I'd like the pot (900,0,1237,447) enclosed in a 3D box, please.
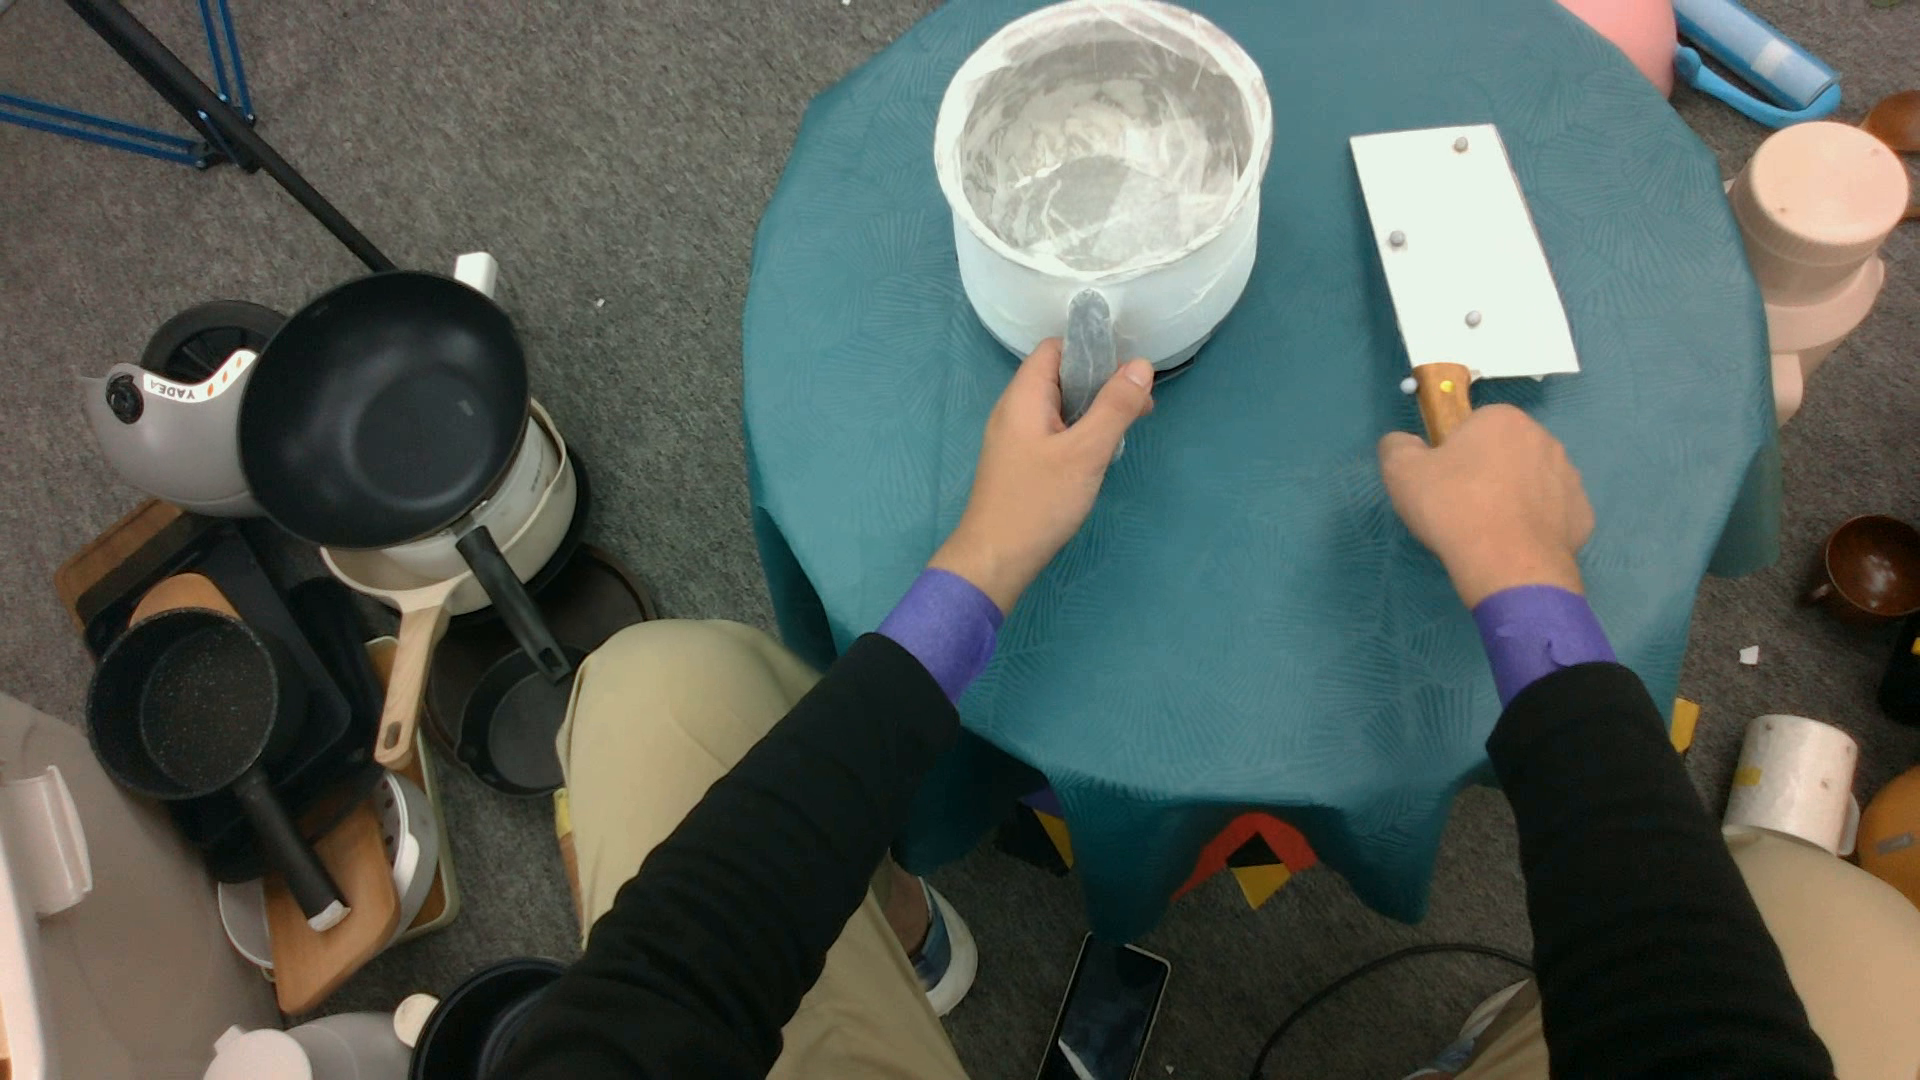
[{"bbox_3d":[0.062,-0.176,0.773,0.178,0.136,0.234,0,68,7],"label":"pot"}]

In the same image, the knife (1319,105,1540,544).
[{"bbox_3d":[0.275,-0.134,0.775,0.093,0.021,0.307,0,61,-9],"label":"knife"}]
